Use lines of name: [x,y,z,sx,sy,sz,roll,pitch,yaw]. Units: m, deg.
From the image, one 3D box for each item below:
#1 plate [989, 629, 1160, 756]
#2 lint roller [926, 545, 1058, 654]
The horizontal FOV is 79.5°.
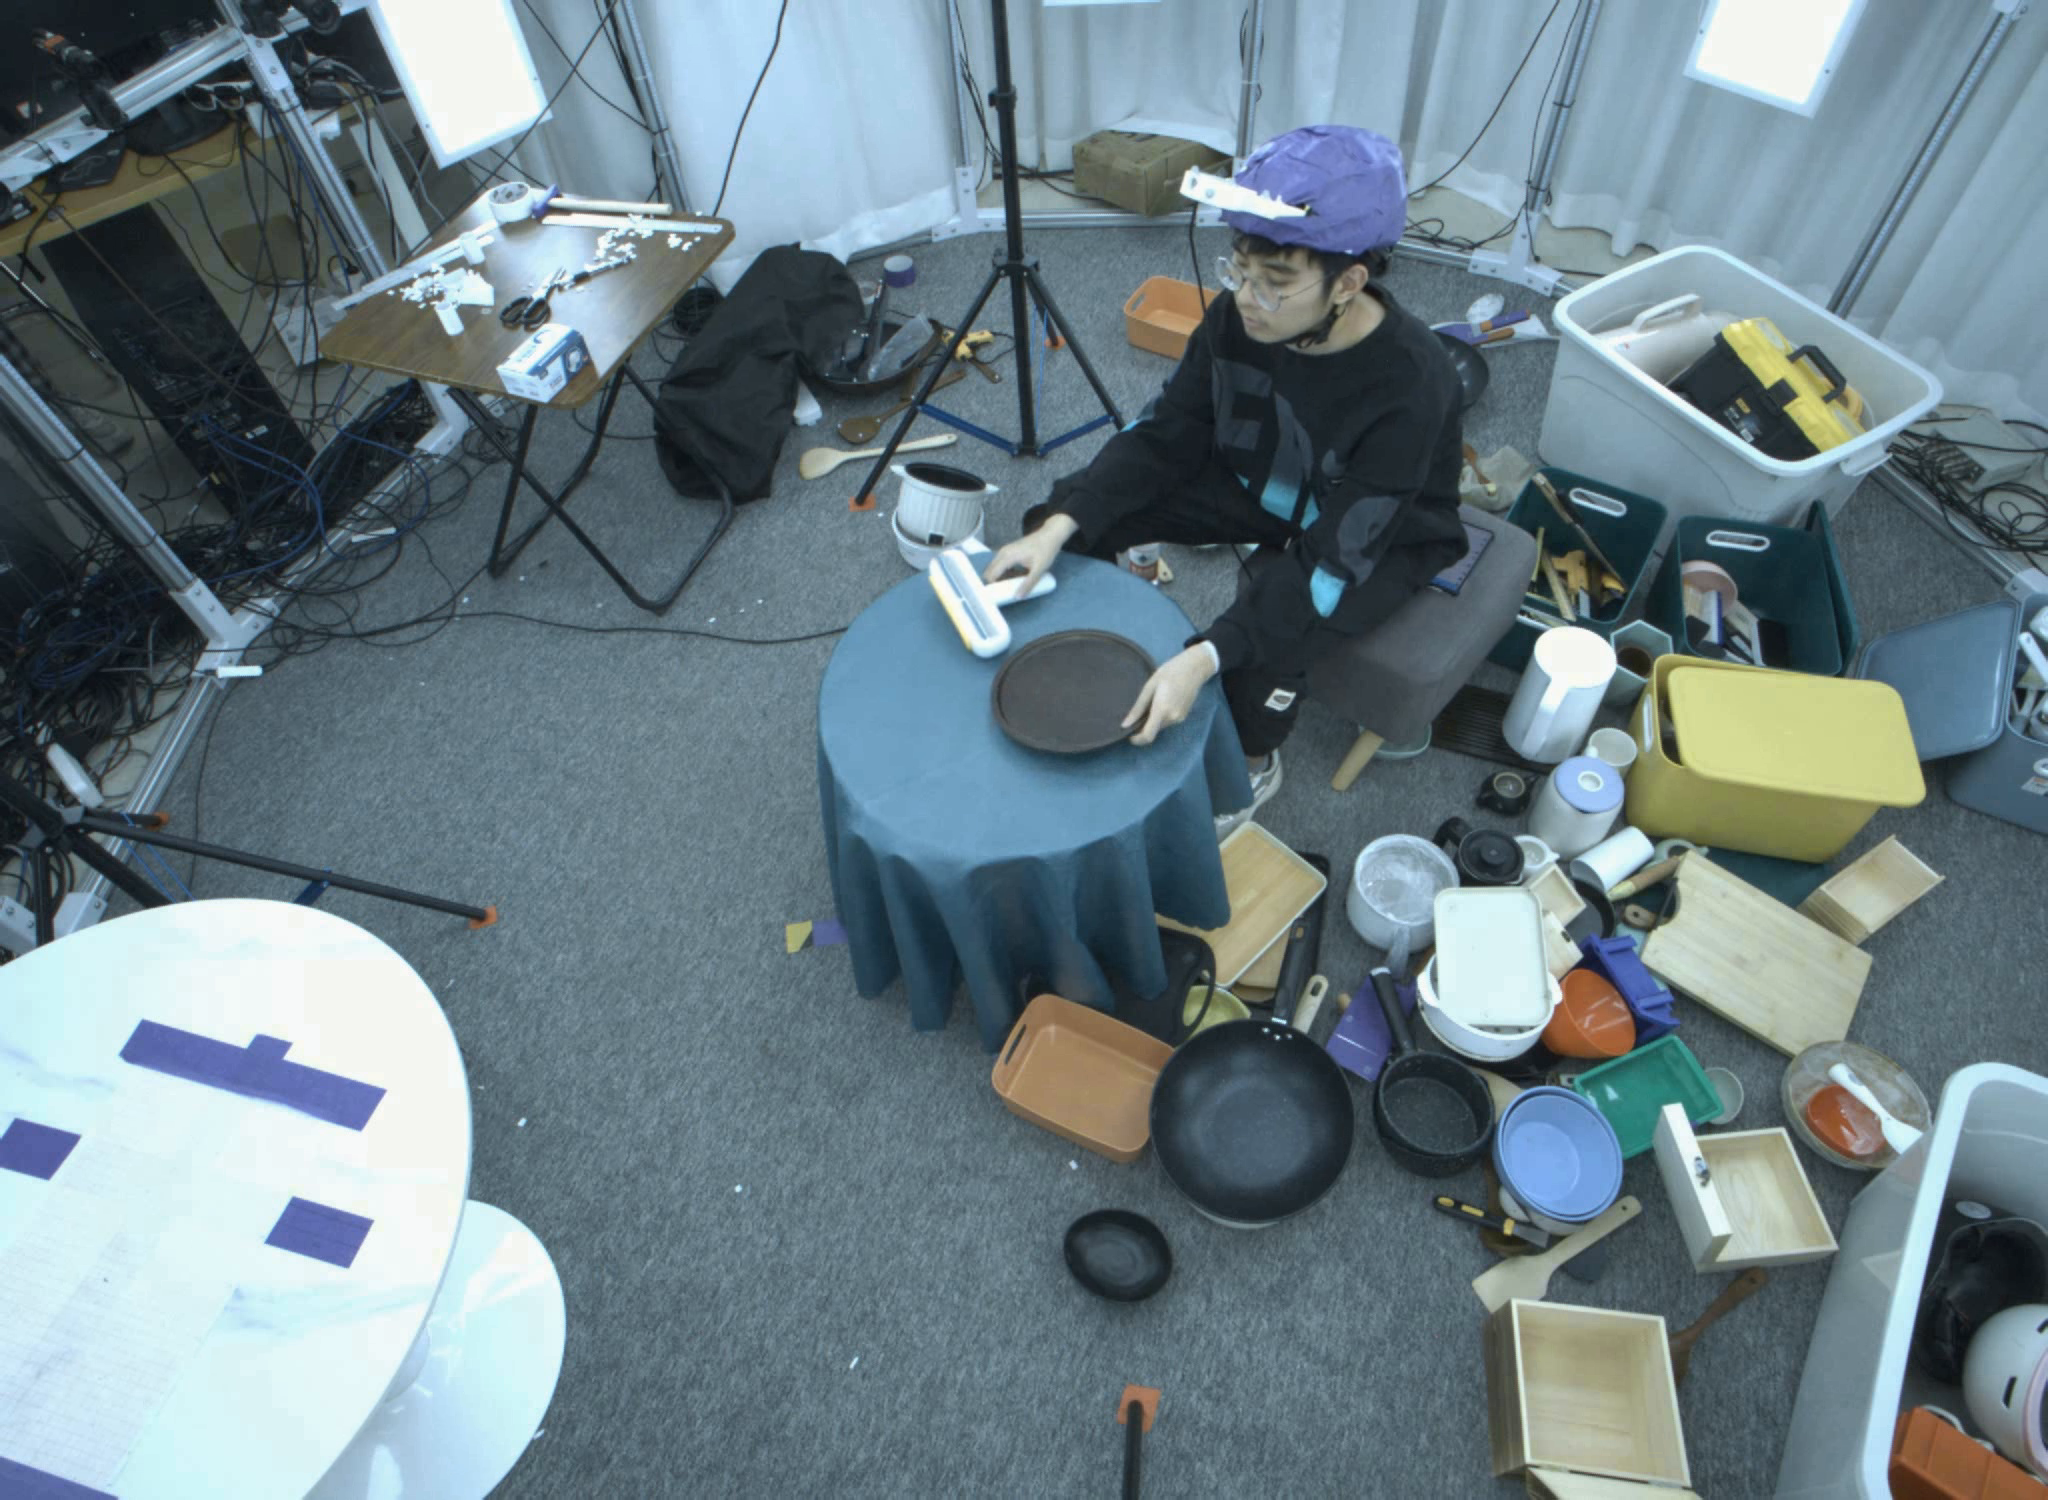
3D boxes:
plate: [0.074,-0.086,1.811,0.254,0.029,0.252,-3,48,4]
lint roller: [-0.036,-0.249,1.920,0.194,0.075,0.190,-21,63,-14]
